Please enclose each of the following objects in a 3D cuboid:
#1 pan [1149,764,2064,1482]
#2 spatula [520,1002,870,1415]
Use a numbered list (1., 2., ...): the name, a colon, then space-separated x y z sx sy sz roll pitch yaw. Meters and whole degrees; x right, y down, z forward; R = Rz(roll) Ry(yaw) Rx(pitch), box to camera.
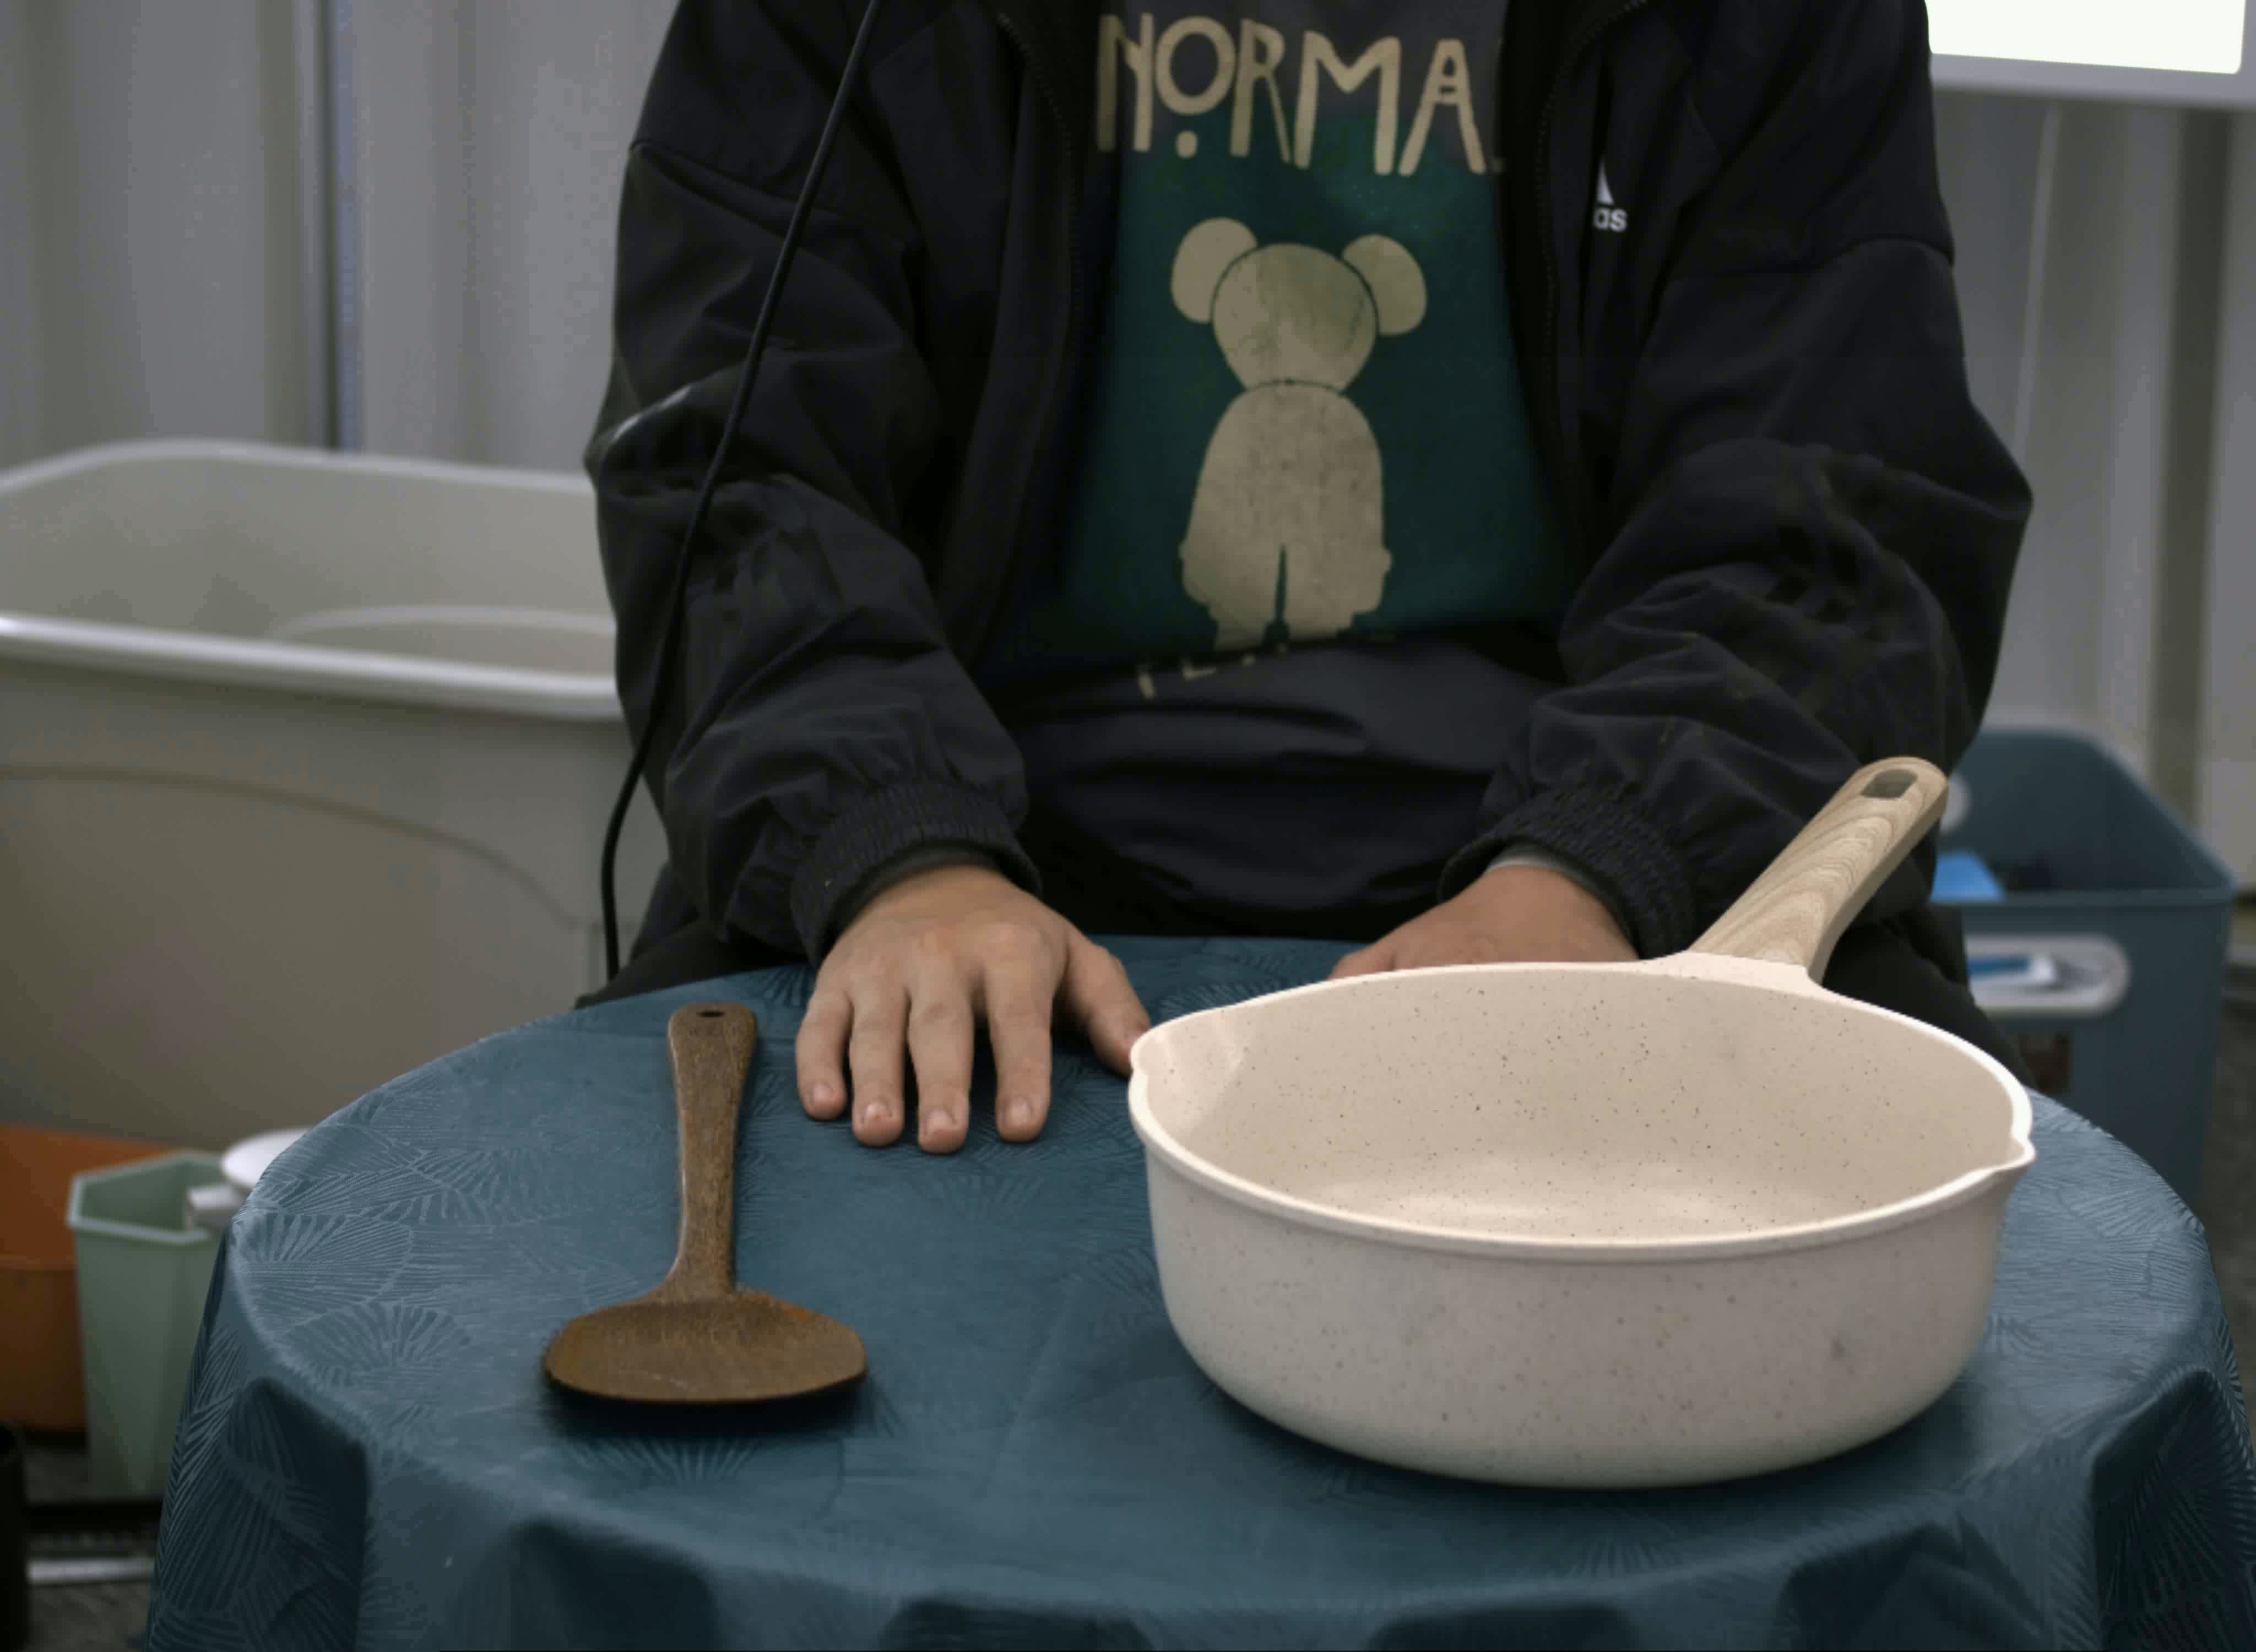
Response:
1. pan: 0.170 0.081 1.550 0.260 0.103 0.436 6 16 24
2. spatula: -0.129 0.109 1.603 0.096 0.016 0.383 0 15 -4
